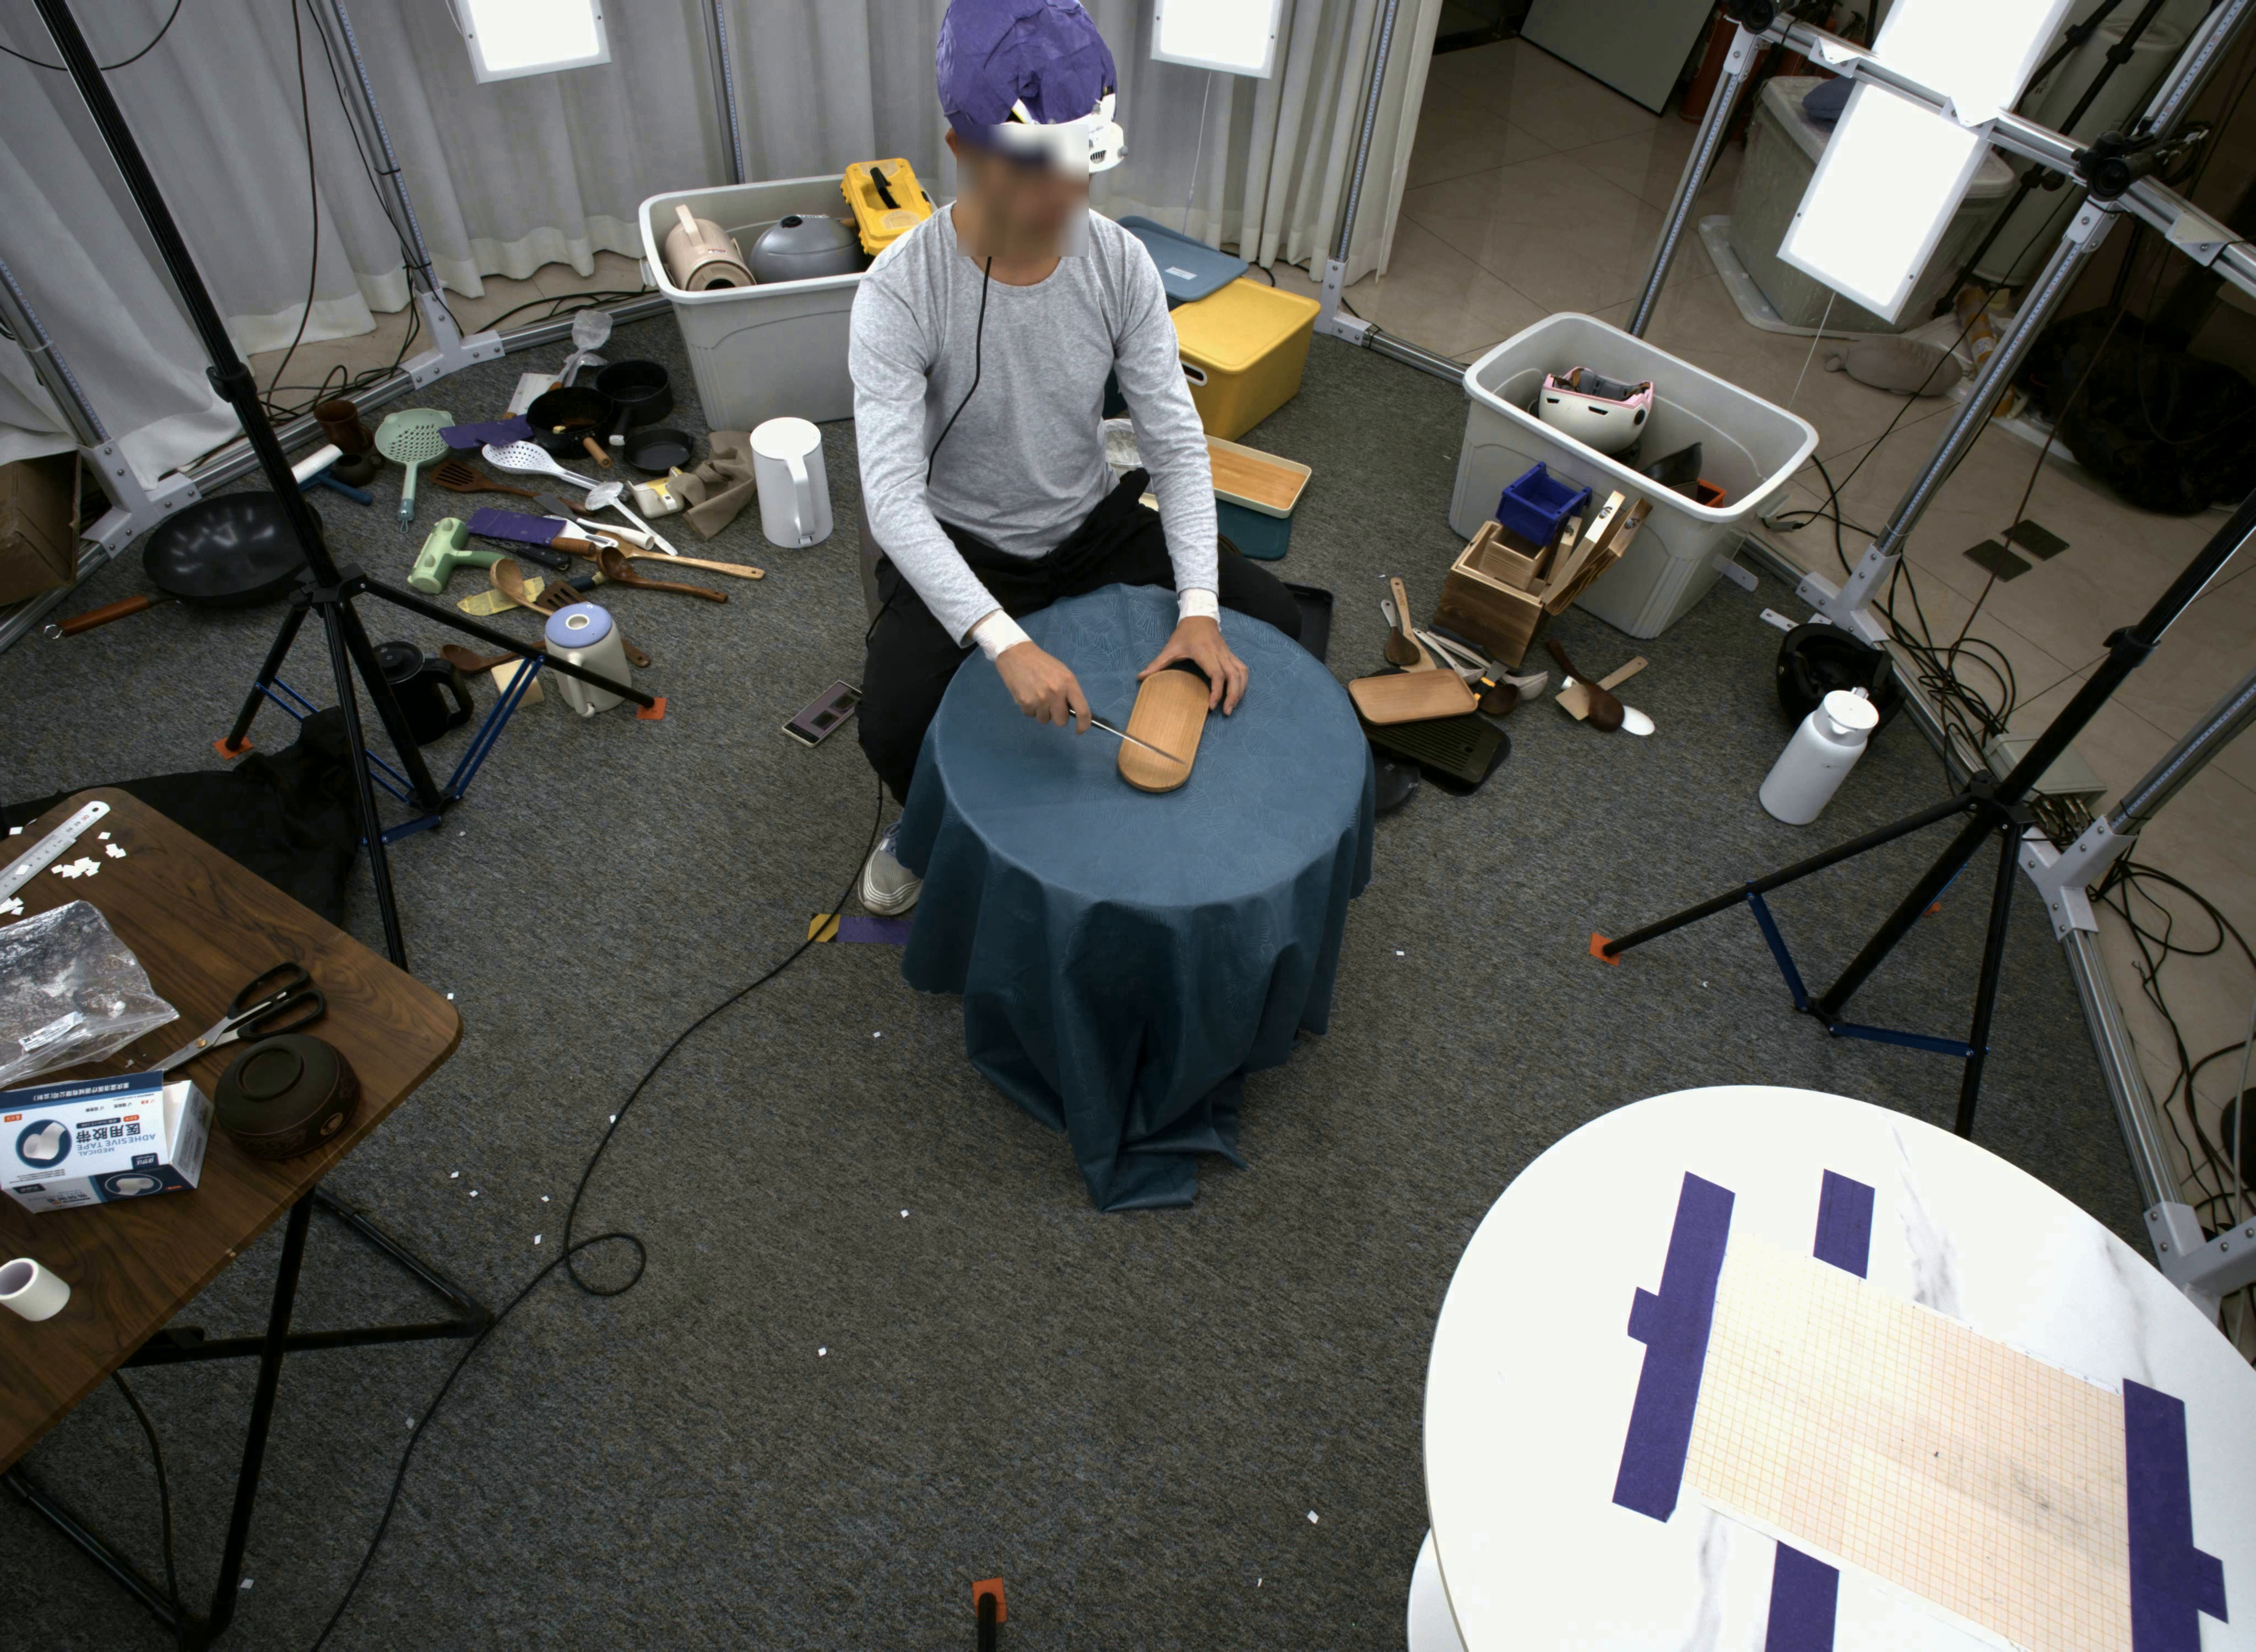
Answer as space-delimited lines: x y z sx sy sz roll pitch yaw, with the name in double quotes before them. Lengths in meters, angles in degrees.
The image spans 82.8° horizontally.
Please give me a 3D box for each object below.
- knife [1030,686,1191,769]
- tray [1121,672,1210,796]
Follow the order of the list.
"knife" -0.023 -0.128 1.699 0.238 0.016 0.025 26 19 0
"tray" 0.053 -0.130 1.774 0.102 0.020 0.236 9 50 6
